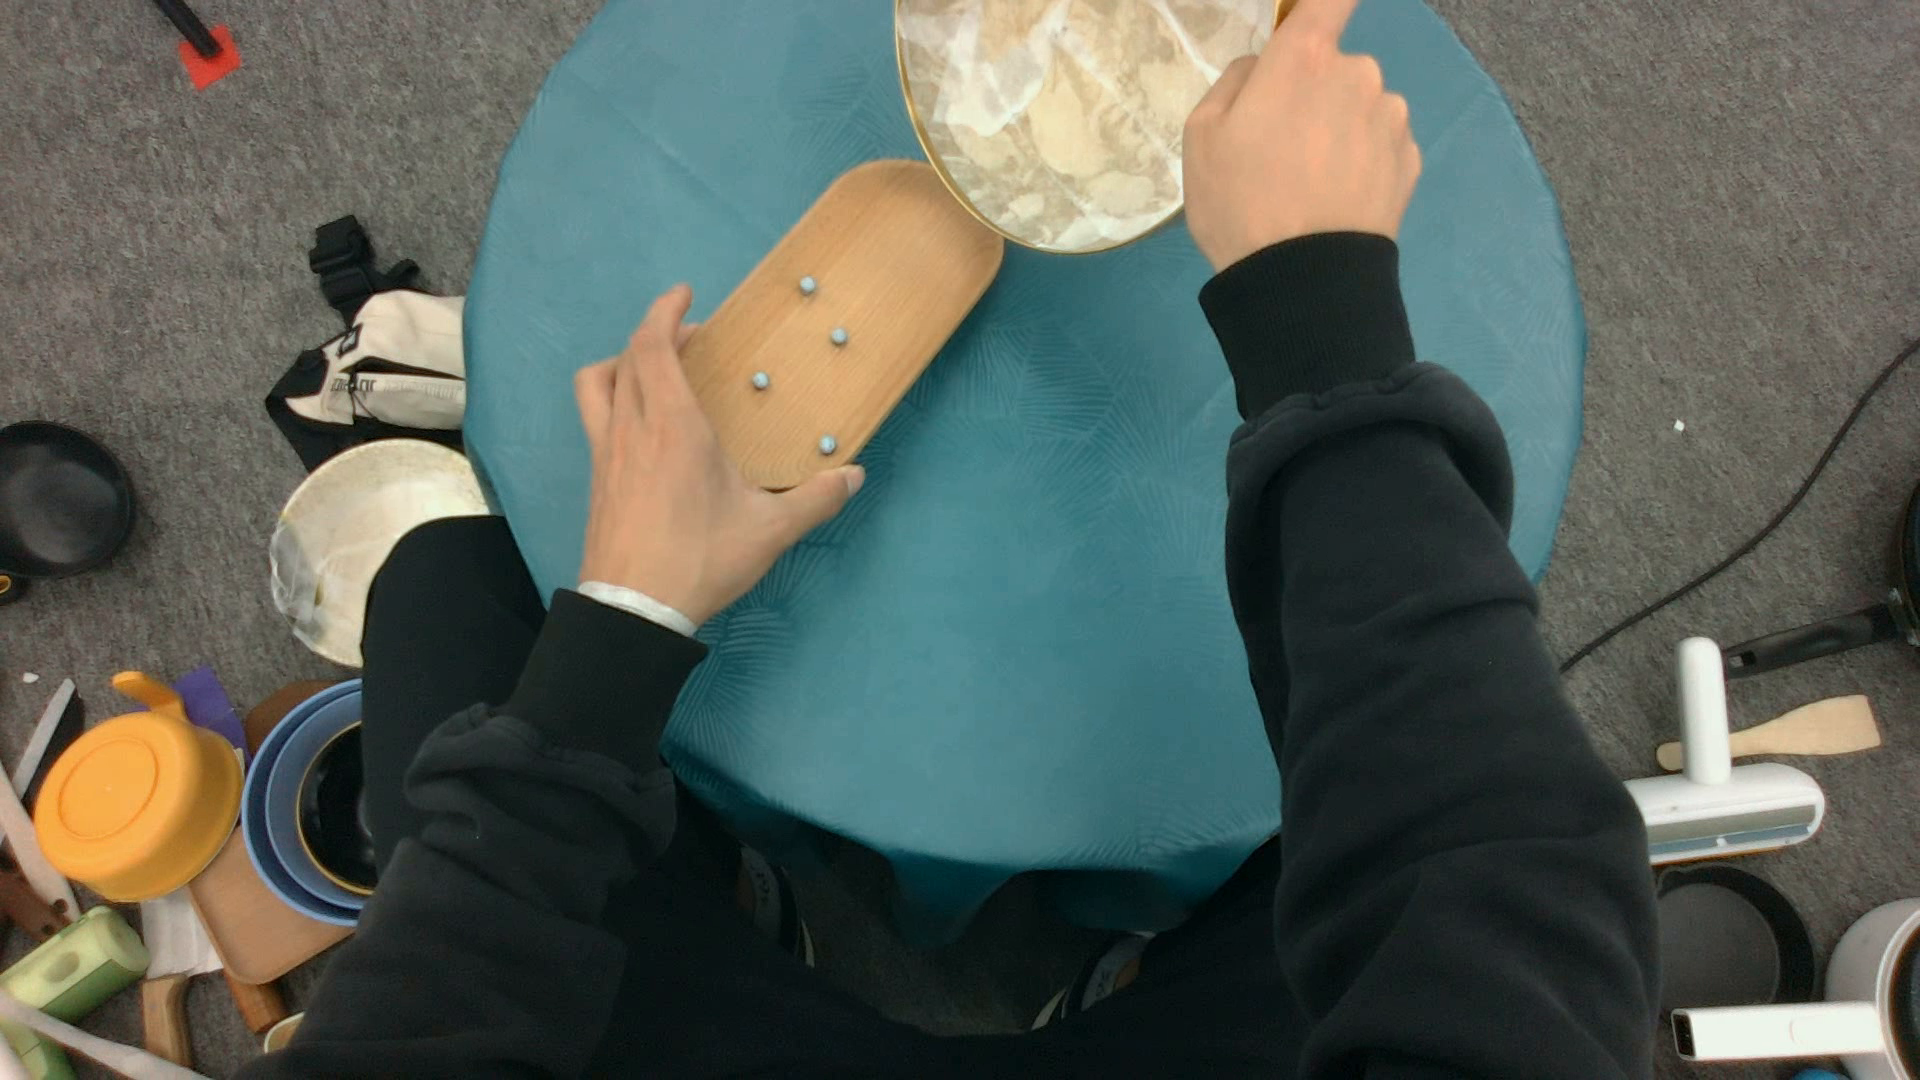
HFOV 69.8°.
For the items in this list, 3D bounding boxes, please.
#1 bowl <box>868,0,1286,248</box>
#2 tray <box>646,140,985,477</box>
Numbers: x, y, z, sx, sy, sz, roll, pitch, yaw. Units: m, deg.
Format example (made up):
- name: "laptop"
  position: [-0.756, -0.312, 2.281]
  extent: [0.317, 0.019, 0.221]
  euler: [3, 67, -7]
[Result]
- name: "bowl"
  position: [0.063, -0.240, 0.627]
  extent: [0.095, 0.213, 0.215]
  euler: [-23, 74, -48]
- name: "tray"
  position: [-0.069, -0.123, 0.700]
  extent: [0.101, 0.020, 0.232]
  euler: [31, 59, 4]
